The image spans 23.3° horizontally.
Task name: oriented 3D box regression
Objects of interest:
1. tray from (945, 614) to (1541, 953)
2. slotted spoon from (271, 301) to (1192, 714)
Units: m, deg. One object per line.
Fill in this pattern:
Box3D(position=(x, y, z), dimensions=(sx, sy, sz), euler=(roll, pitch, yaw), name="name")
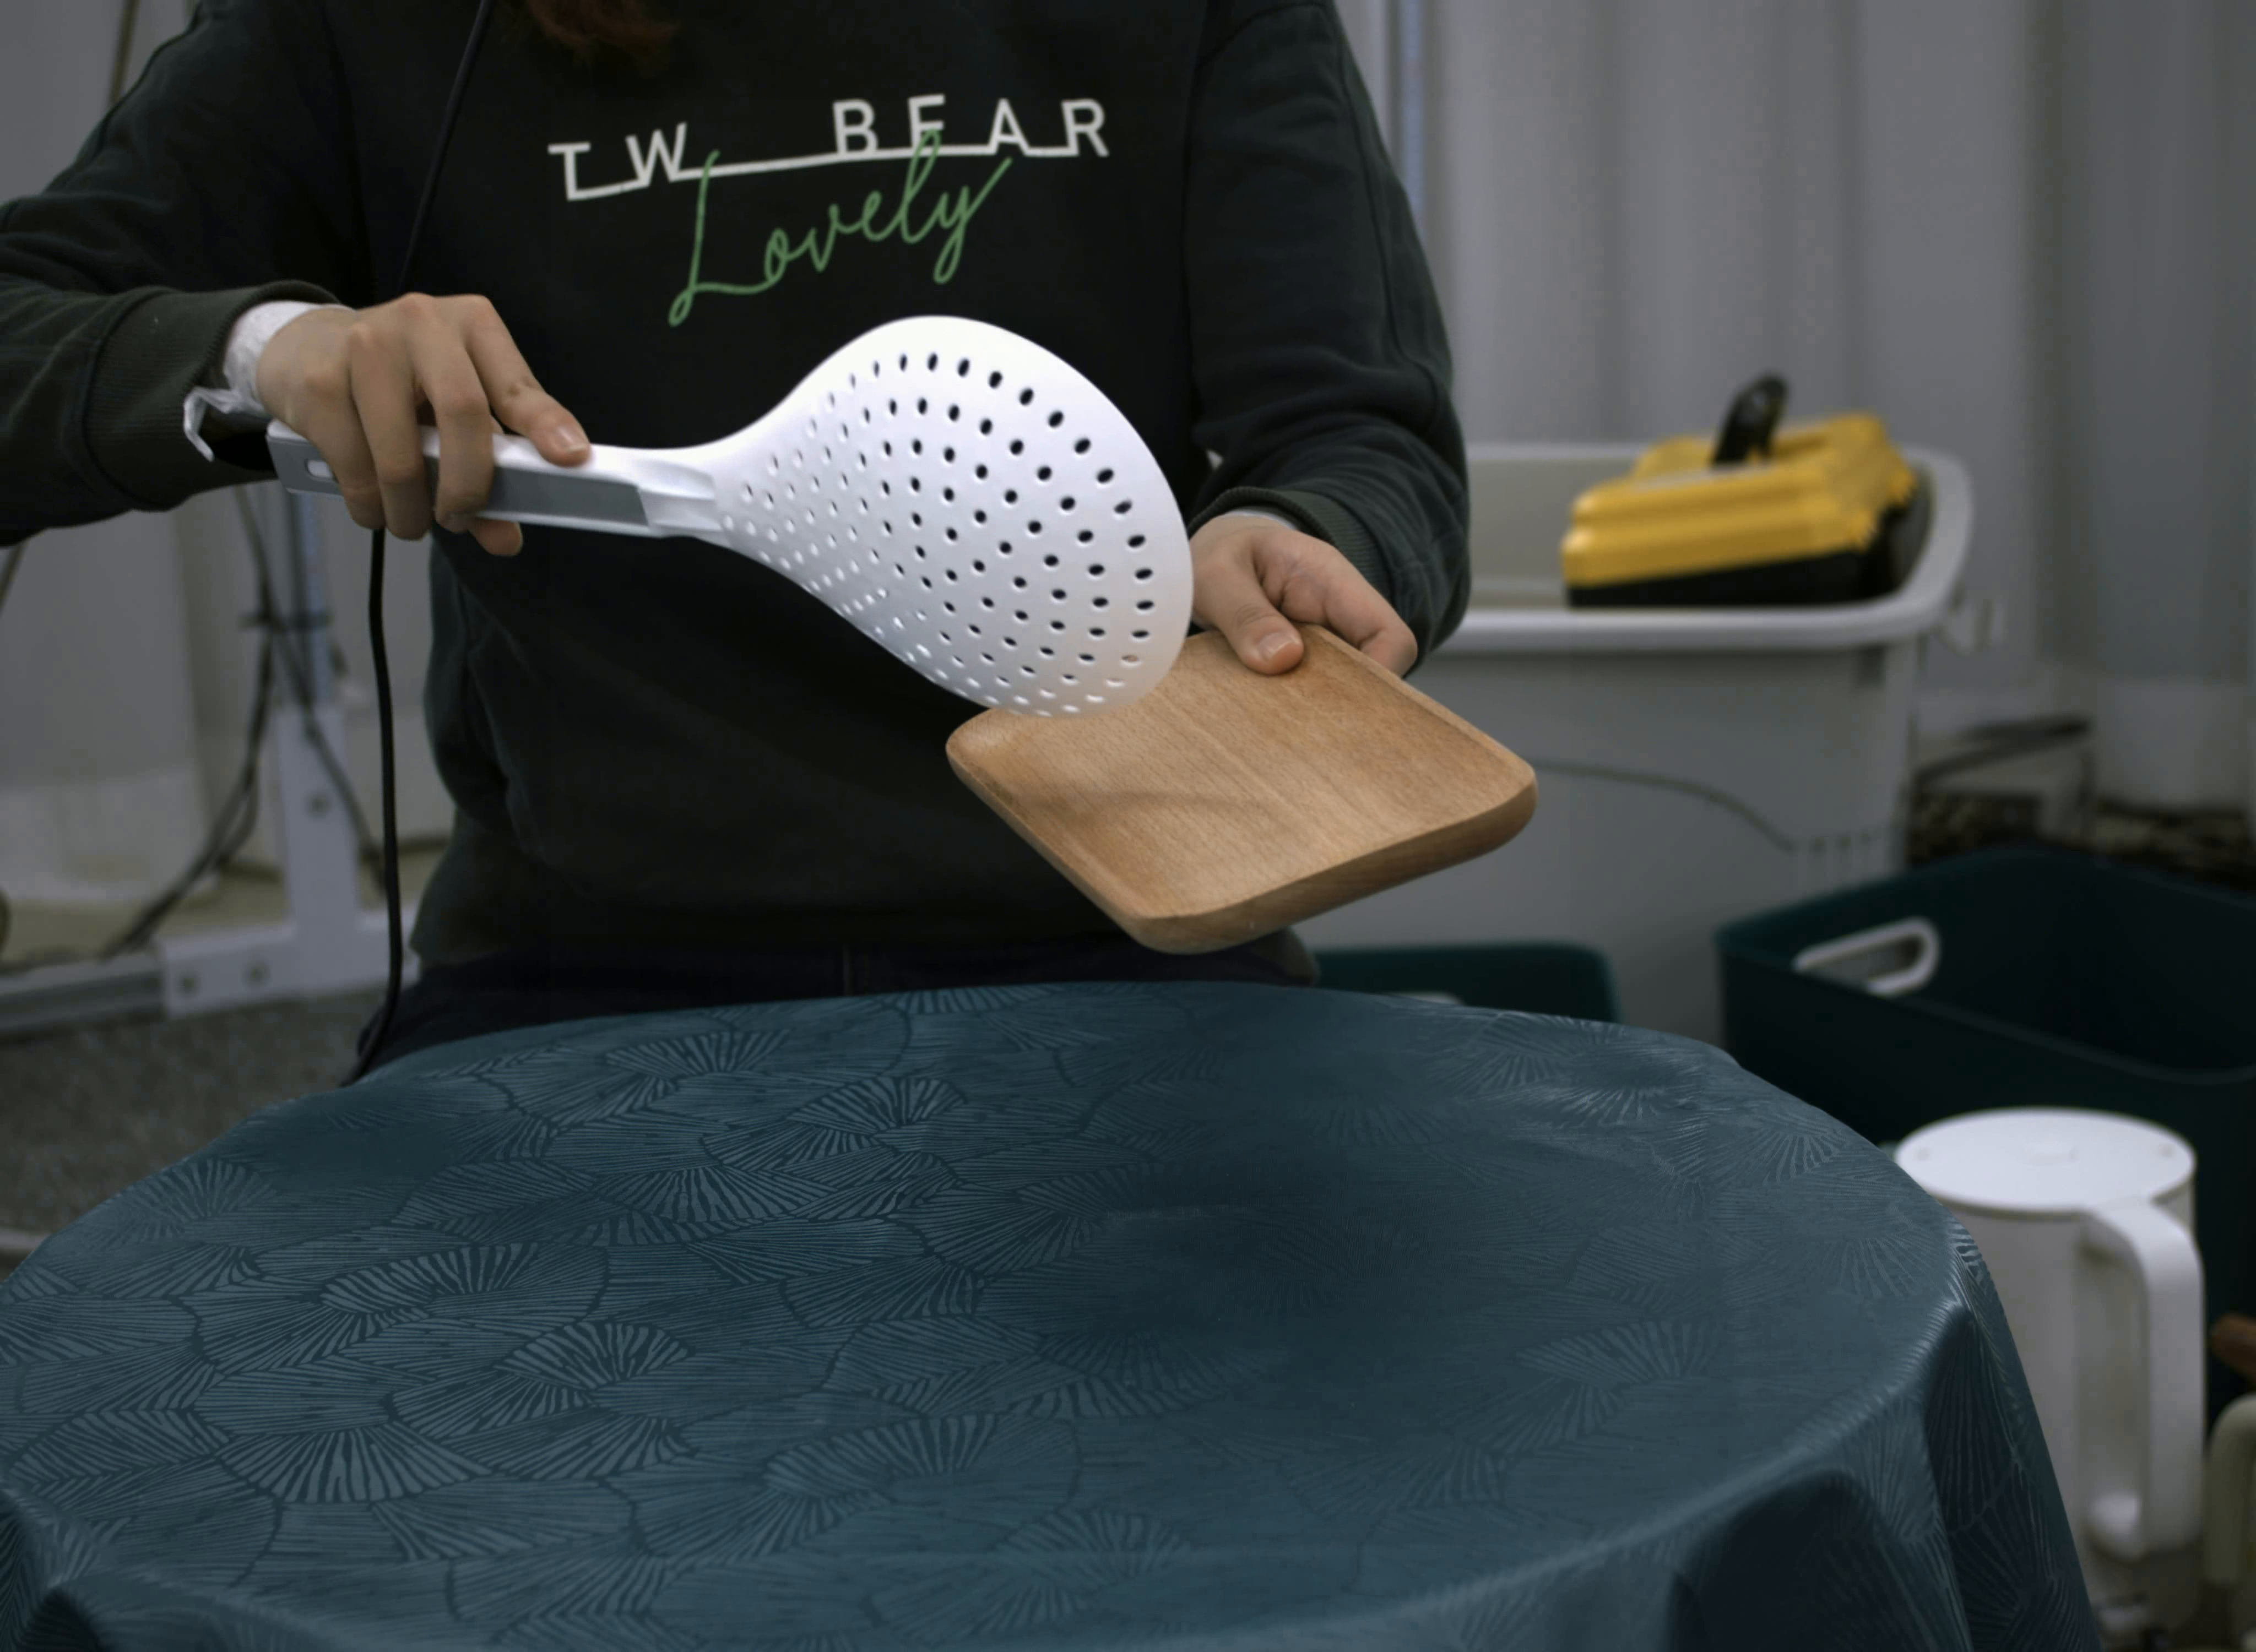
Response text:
Box3D(position=(0.031, -0.015, 1.639), dimensions=(0.130, 0.023, 0.252), euler=(-18, 17, -11), name="tray")
Box3D(position=(-0.132, -0.104, 1.693), dimensions=(0.351, 0.135, 0.046), euler=(12, 34, 38), name="slotted spoon")
